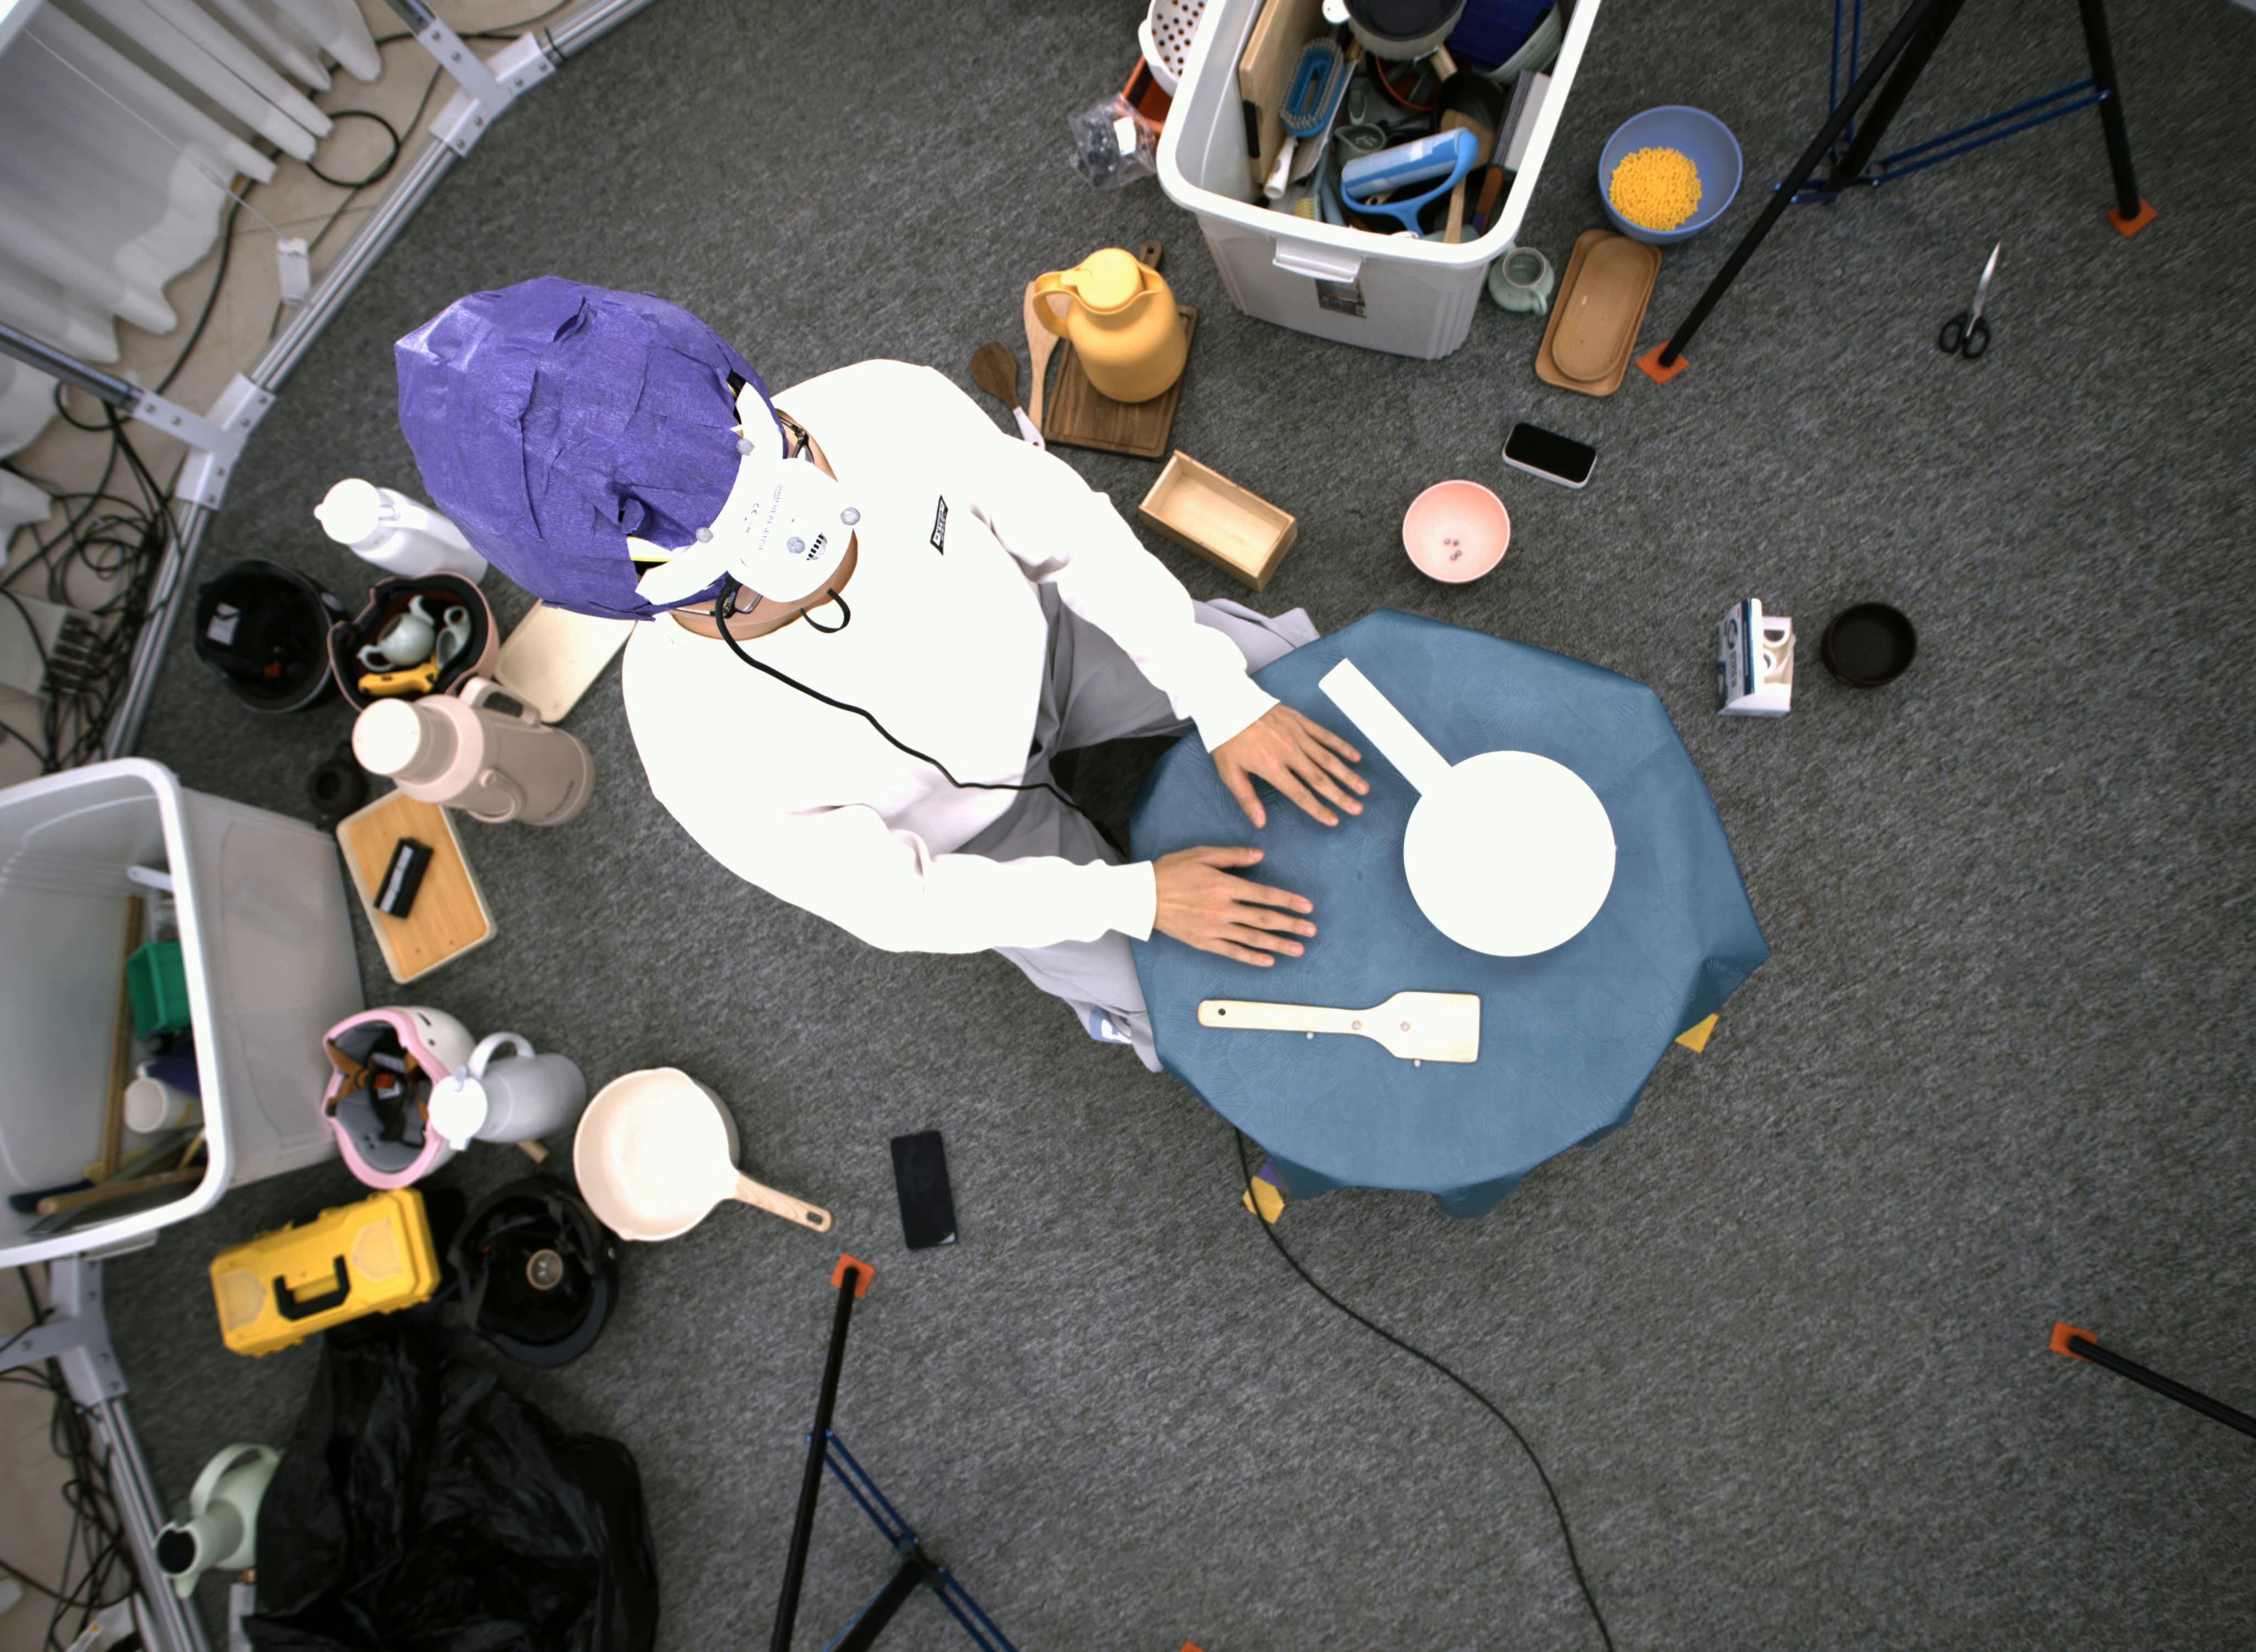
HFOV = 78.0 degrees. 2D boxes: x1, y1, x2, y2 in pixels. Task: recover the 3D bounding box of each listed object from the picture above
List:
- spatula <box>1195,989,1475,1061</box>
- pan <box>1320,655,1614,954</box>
[{"bbox_3d":[0.216,0.202,1.458,0.294,0.010,0.072,2,88,11],"label":"spatula"},{"bbox_3d":[0.330,-0.028,1.402,0.202,0.102,0.353,-43,80,5],"label":"pan"}]
